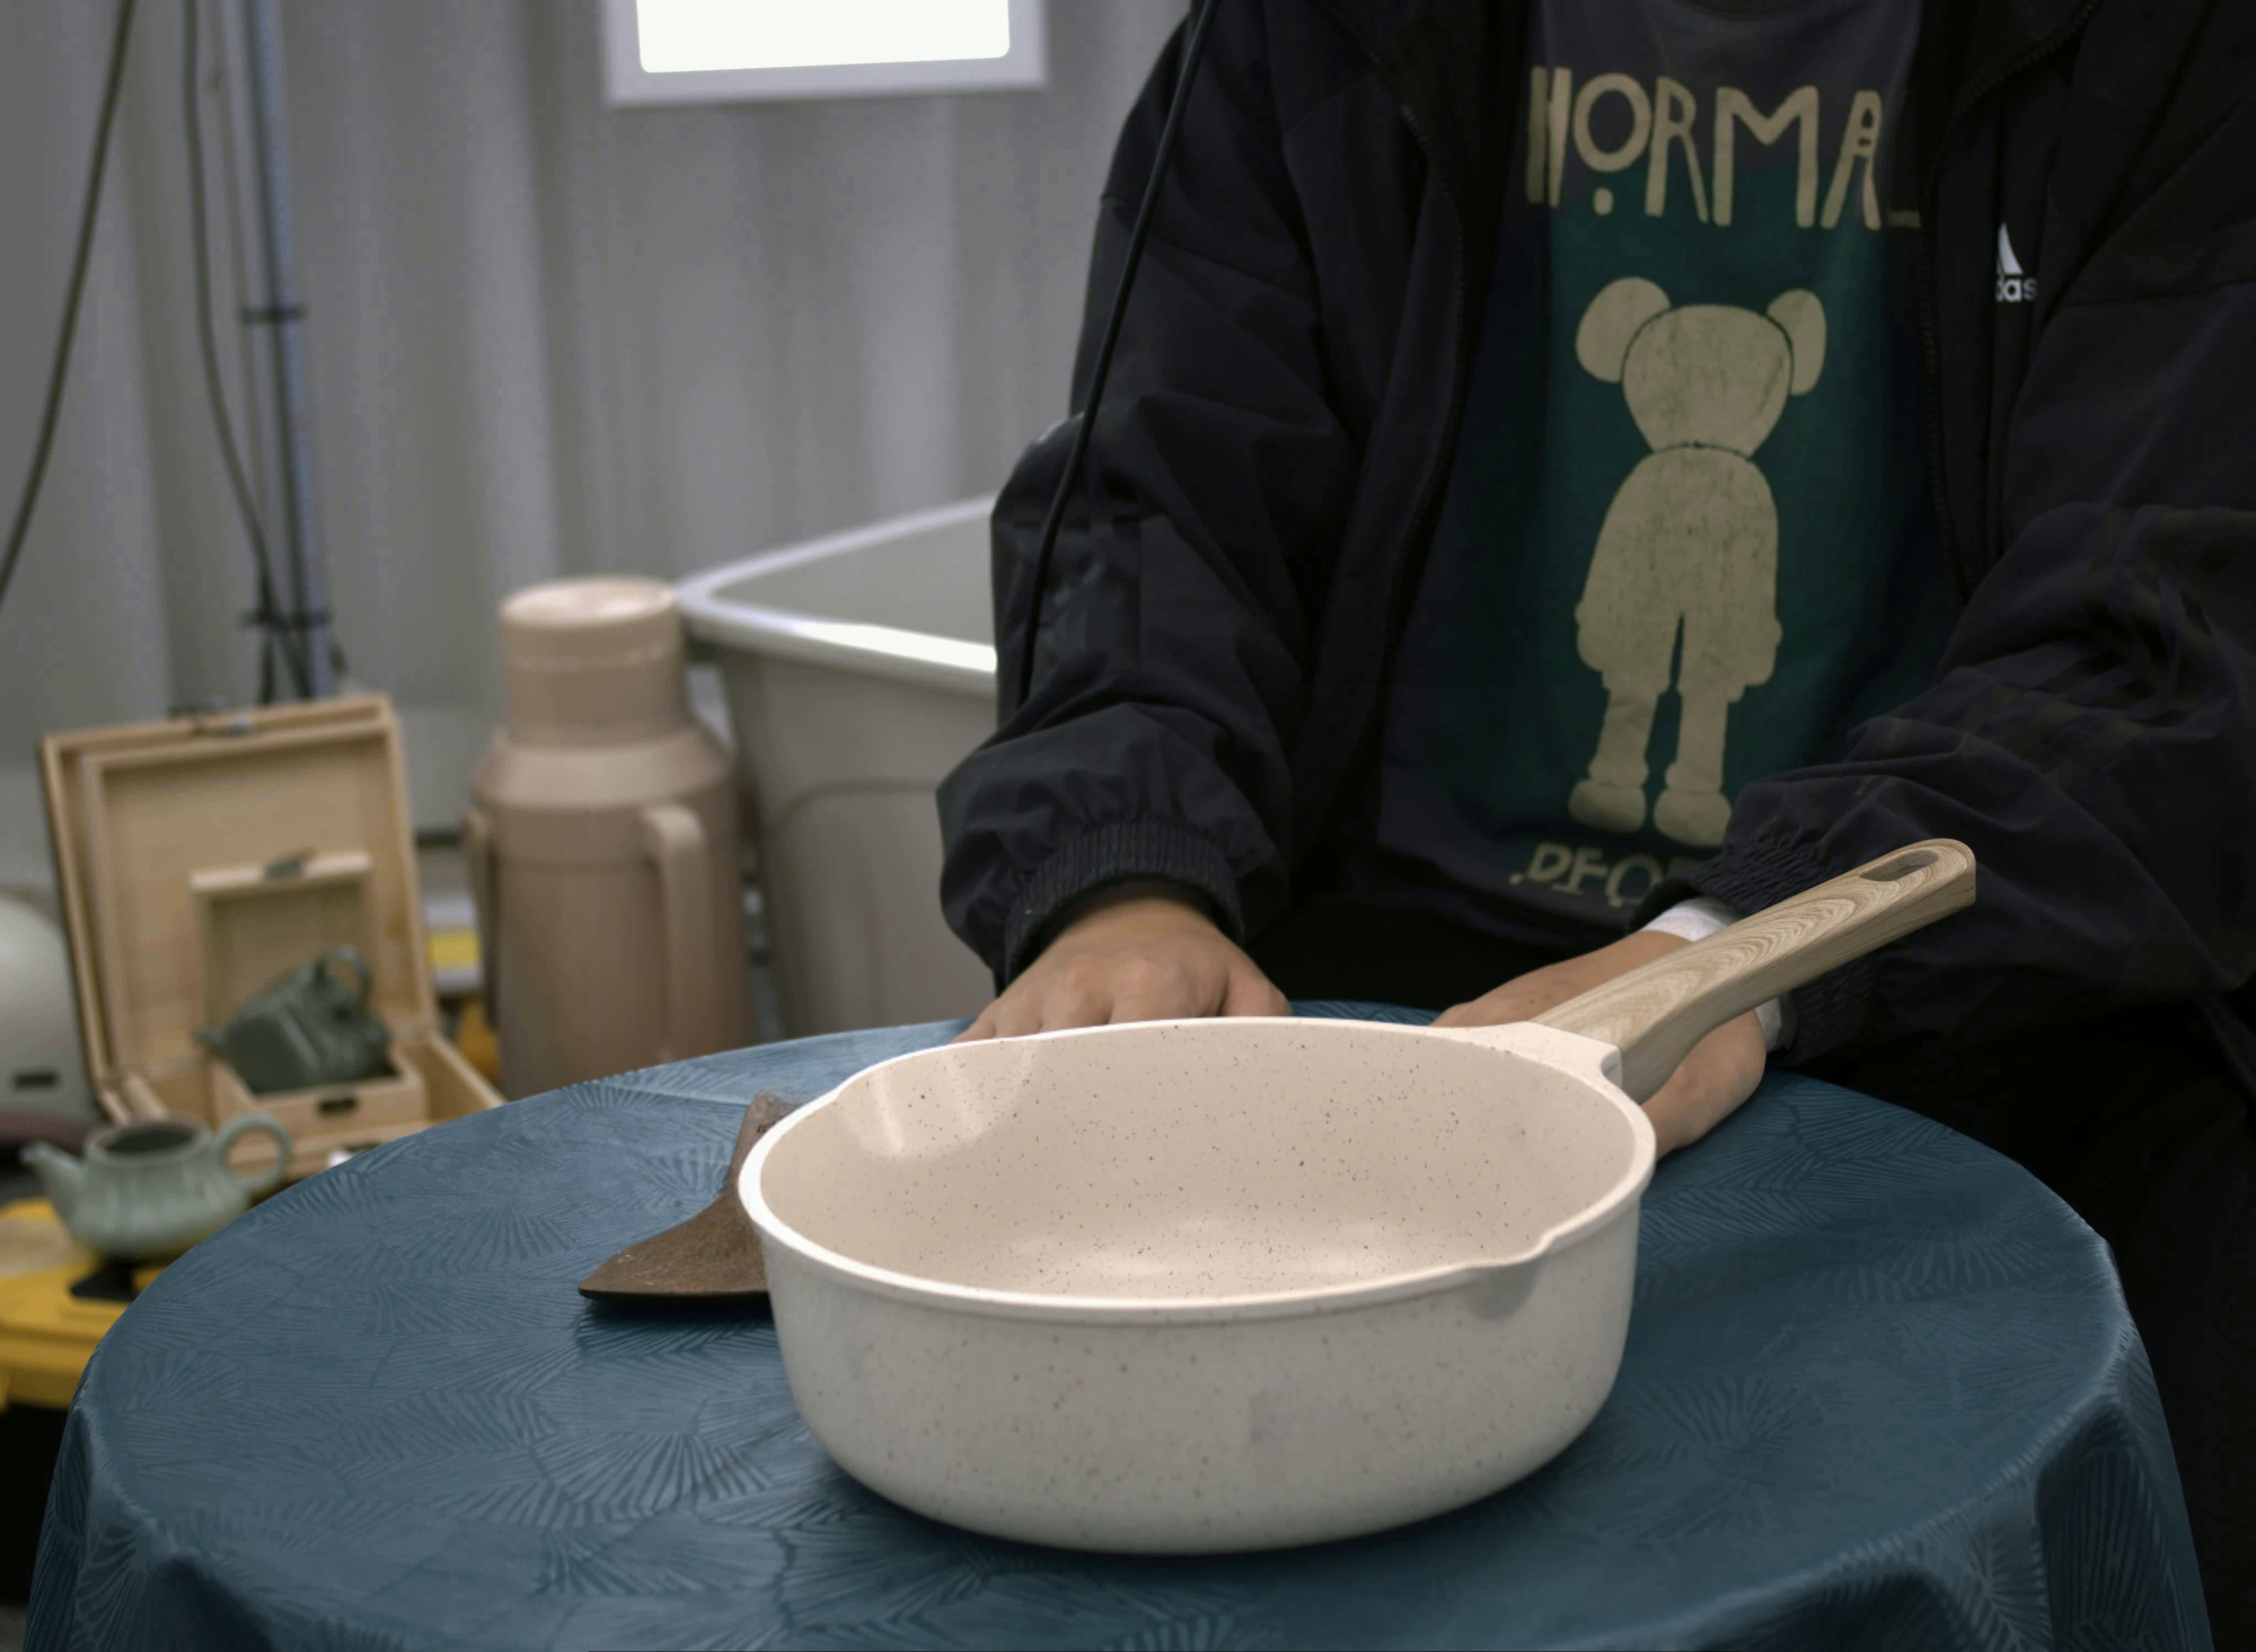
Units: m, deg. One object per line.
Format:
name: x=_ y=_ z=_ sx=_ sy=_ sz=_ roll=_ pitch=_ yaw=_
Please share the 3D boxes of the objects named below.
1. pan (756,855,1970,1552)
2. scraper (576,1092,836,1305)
pan: x=0.094 y=0.102 z=1.555 sx=0.433 sy=0.101 sz=0.265 roll=-15 pitch=17 yaw=-38
scraper: x=-0.119 y=0.116 z=1.715 sx=0.075 sy=0.011 sz=0.212 roll=-1 pitch=14 yaw=5
